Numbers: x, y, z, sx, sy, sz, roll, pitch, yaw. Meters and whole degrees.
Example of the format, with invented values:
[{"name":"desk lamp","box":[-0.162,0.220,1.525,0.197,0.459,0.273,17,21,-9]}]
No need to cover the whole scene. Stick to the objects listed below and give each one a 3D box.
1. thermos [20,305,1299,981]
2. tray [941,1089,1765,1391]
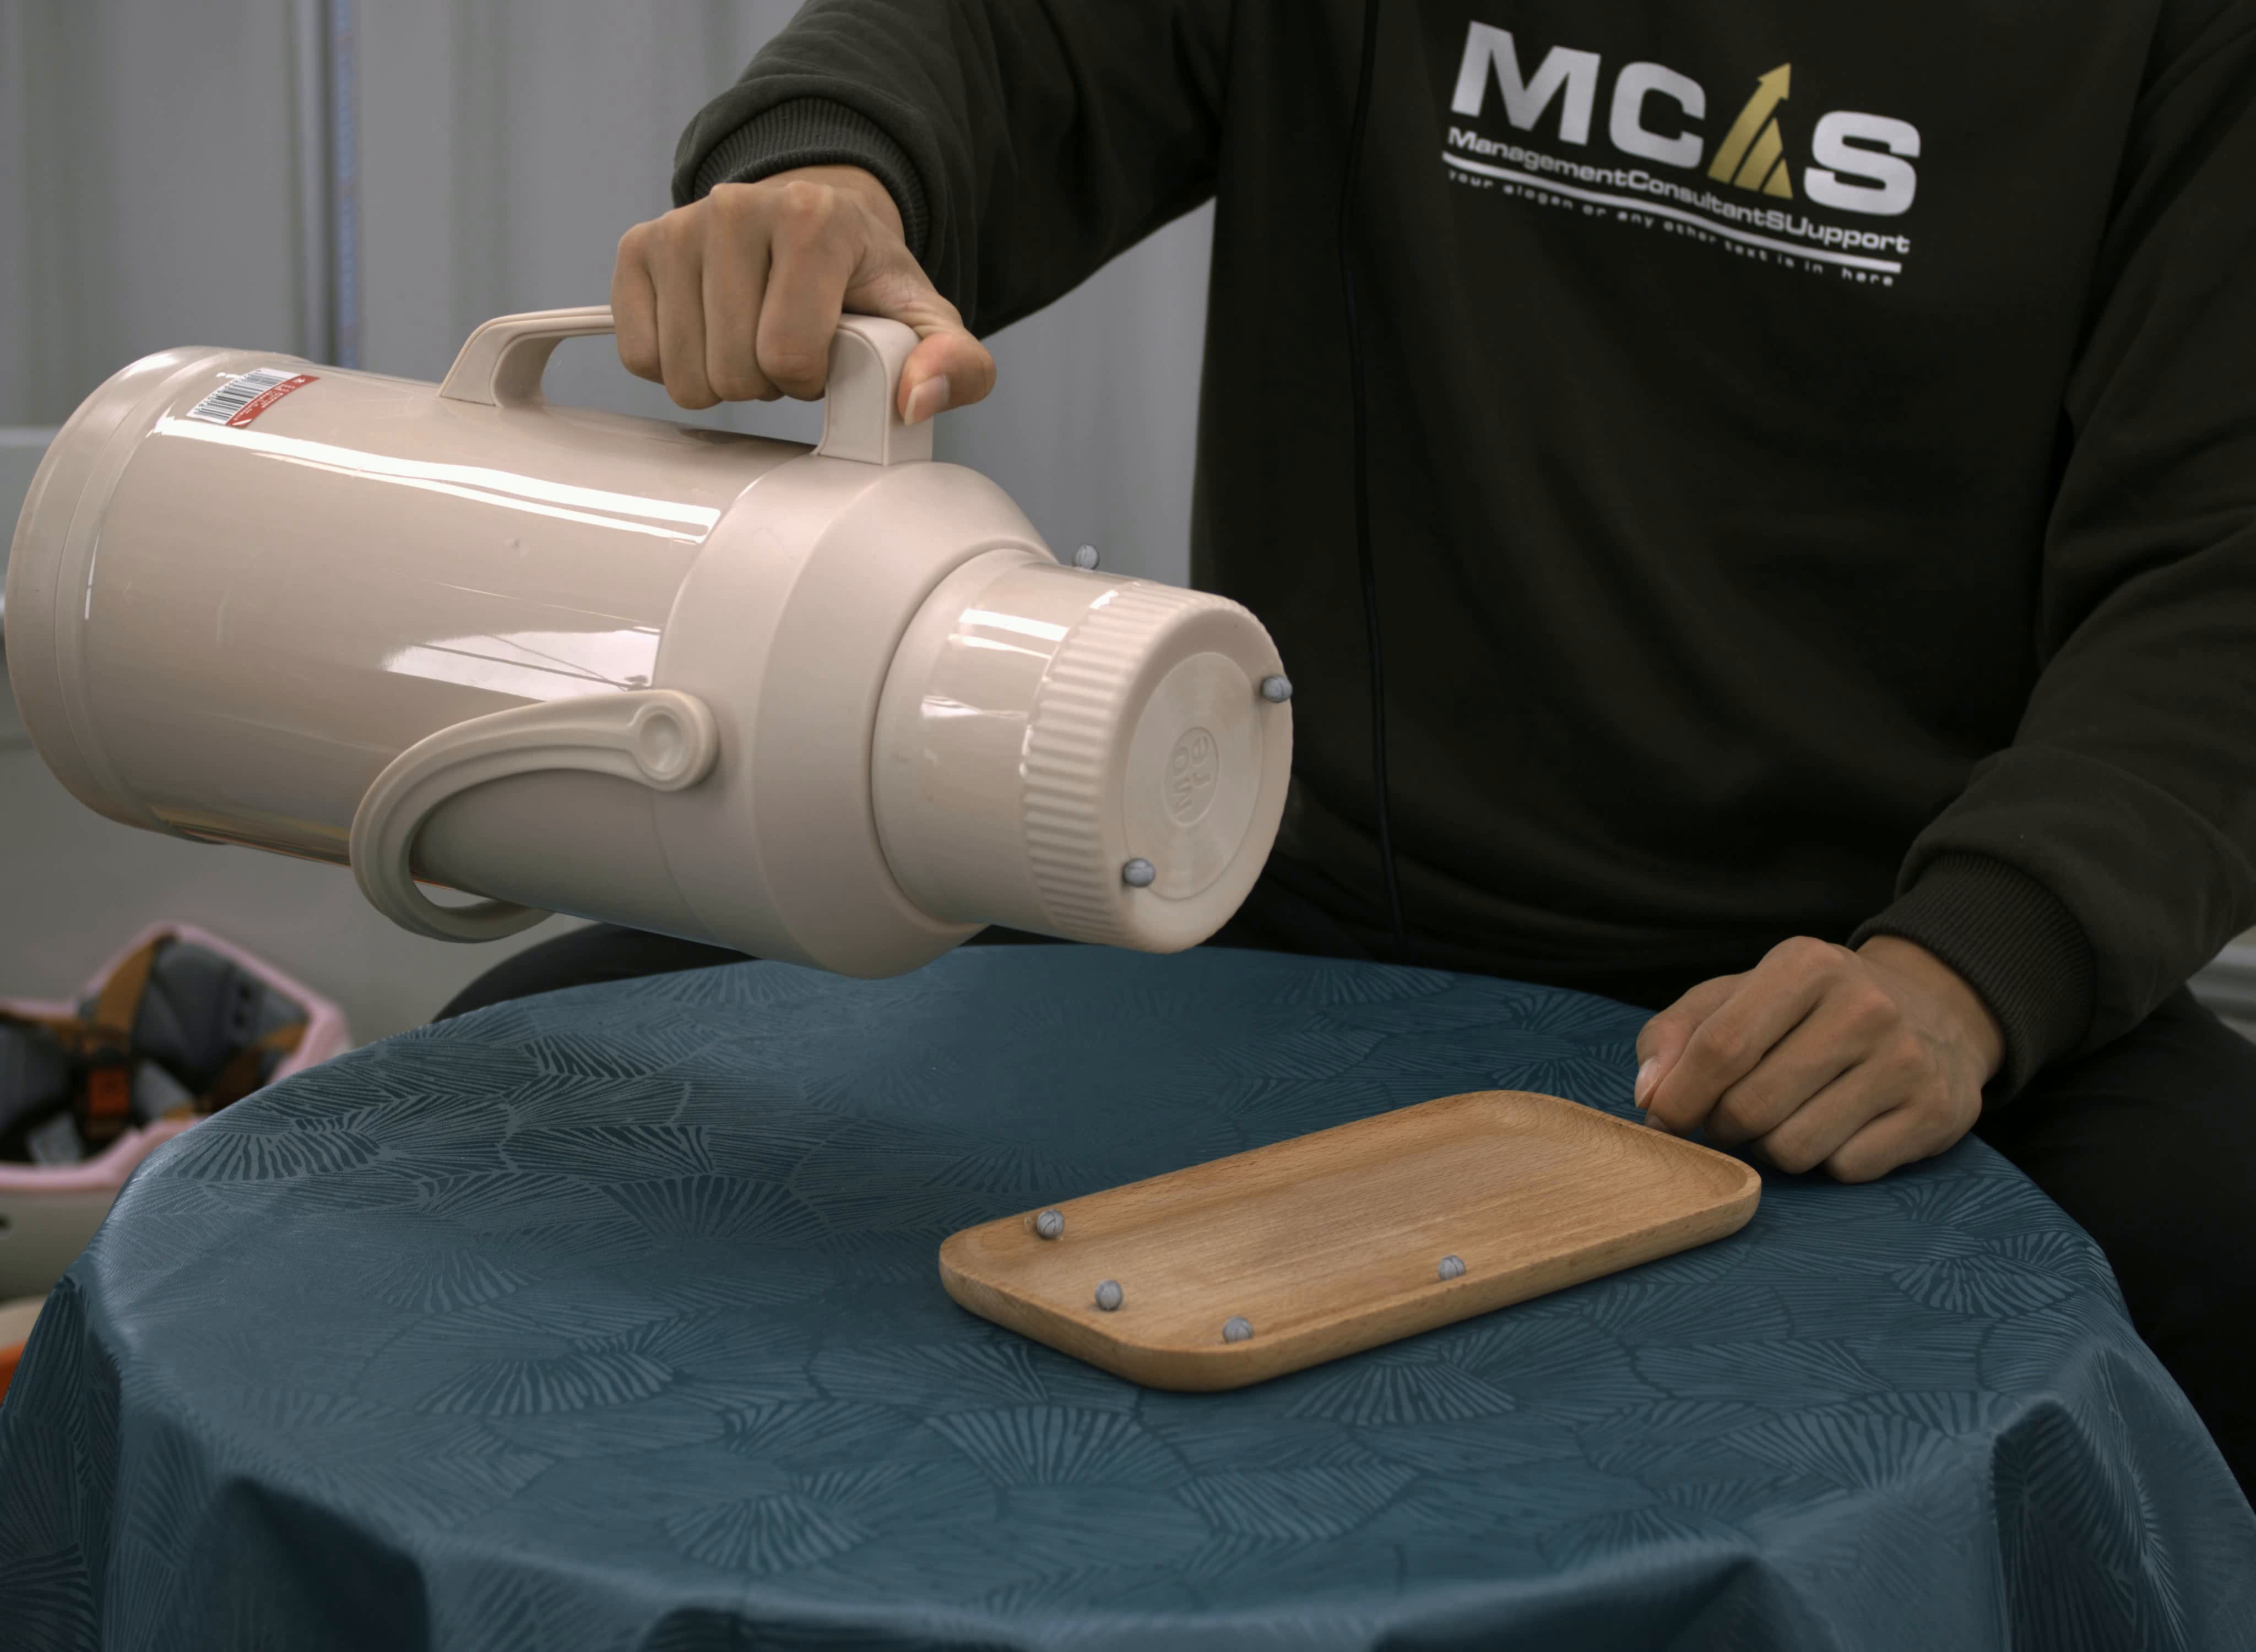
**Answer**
[{"name":"thermos","box":[-0.142,-0.060,1.610,0.401,0.208,0.176,11,14,33]},{"name":"tray","box":[0.070,0.121,1.573,0.252,0.023,0.129,-11,22,-39]}]
